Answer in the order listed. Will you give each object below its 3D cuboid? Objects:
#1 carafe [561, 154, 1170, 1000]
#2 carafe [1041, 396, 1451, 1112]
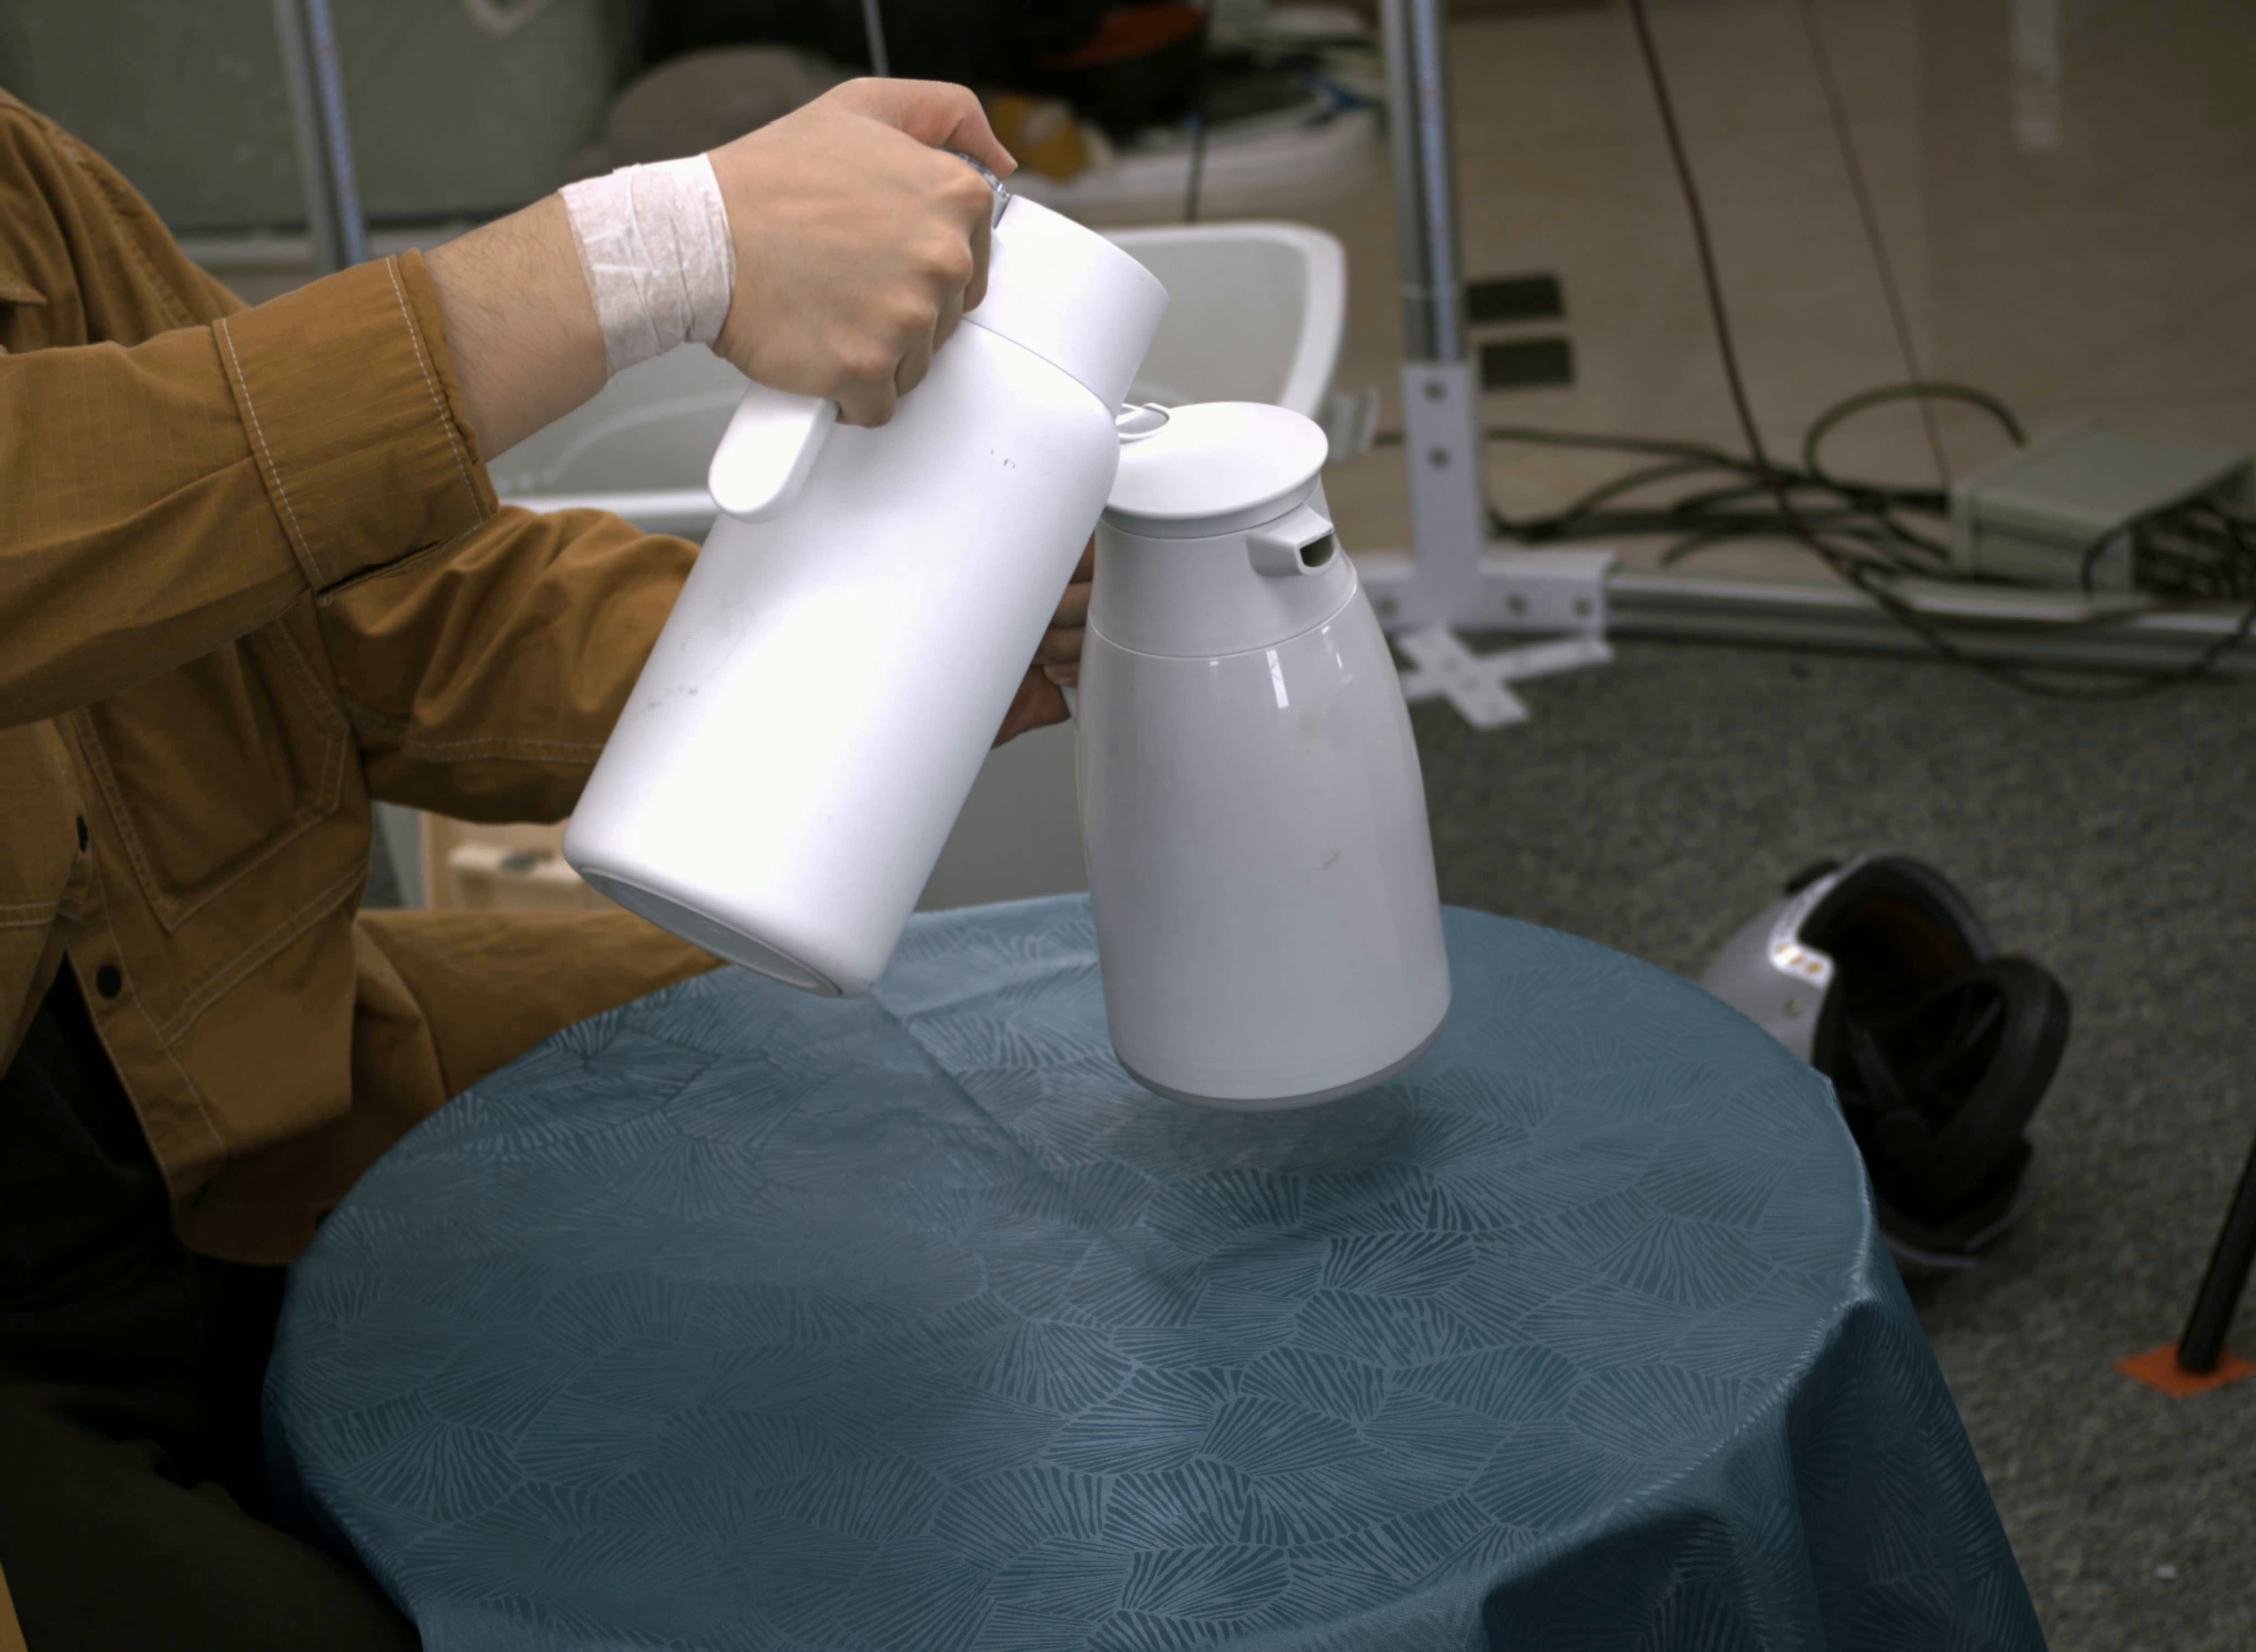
[{"bbox_3d":[-0.090,-0.087,1.899,0.123,0.268,0.174,24,-7,28],"label":"carafe"},{"bbox_3d":[0.029,-0.038,2.110,0.131,0.253,0.166,-29,35,-31],"label":"carafe"}]
